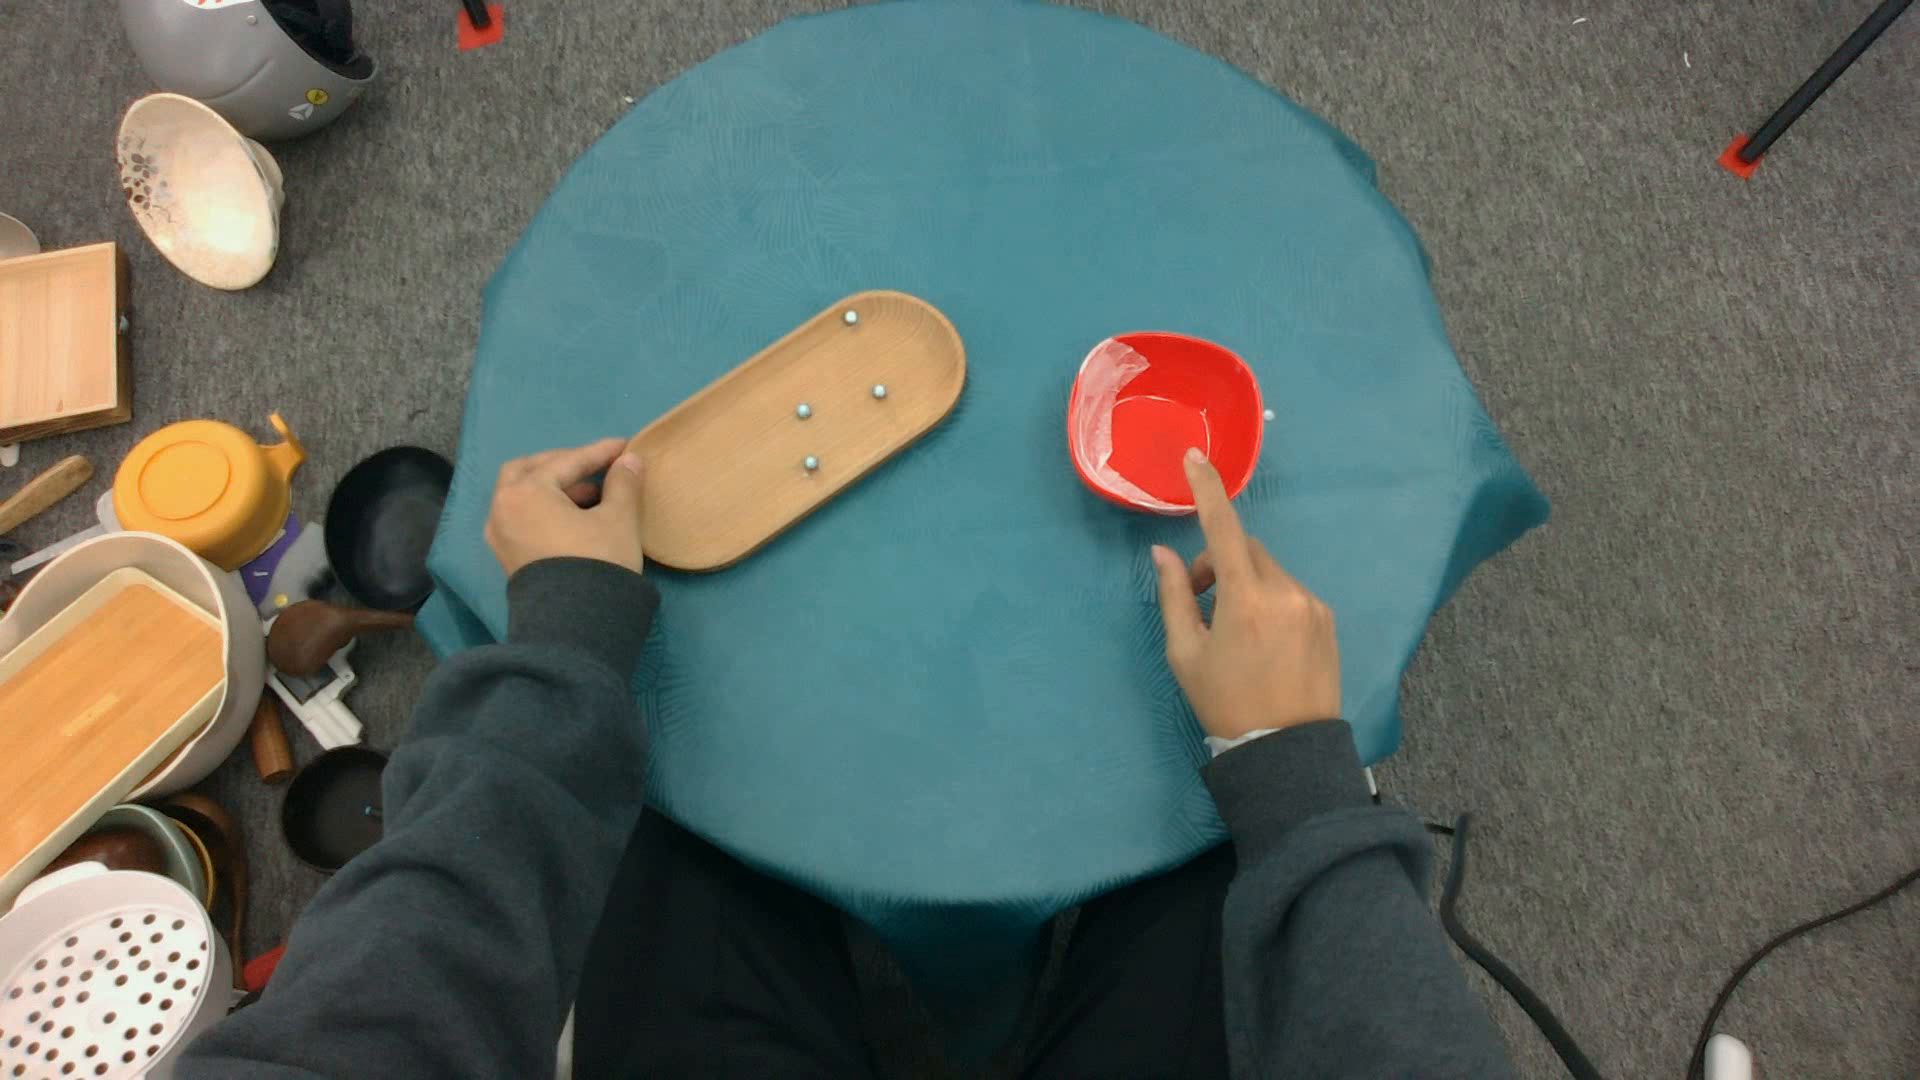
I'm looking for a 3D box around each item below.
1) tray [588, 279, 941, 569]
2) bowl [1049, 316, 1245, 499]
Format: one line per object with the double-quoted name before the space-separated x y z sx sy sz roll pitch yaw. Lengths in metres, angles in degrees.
"tray" -0.112 -0.070 0.810 0.231 0.020 0.102 -38 75 -13
"bowl" 0.104 -0.069 0.795 0.119 0.051 0.119 1 68 -2
